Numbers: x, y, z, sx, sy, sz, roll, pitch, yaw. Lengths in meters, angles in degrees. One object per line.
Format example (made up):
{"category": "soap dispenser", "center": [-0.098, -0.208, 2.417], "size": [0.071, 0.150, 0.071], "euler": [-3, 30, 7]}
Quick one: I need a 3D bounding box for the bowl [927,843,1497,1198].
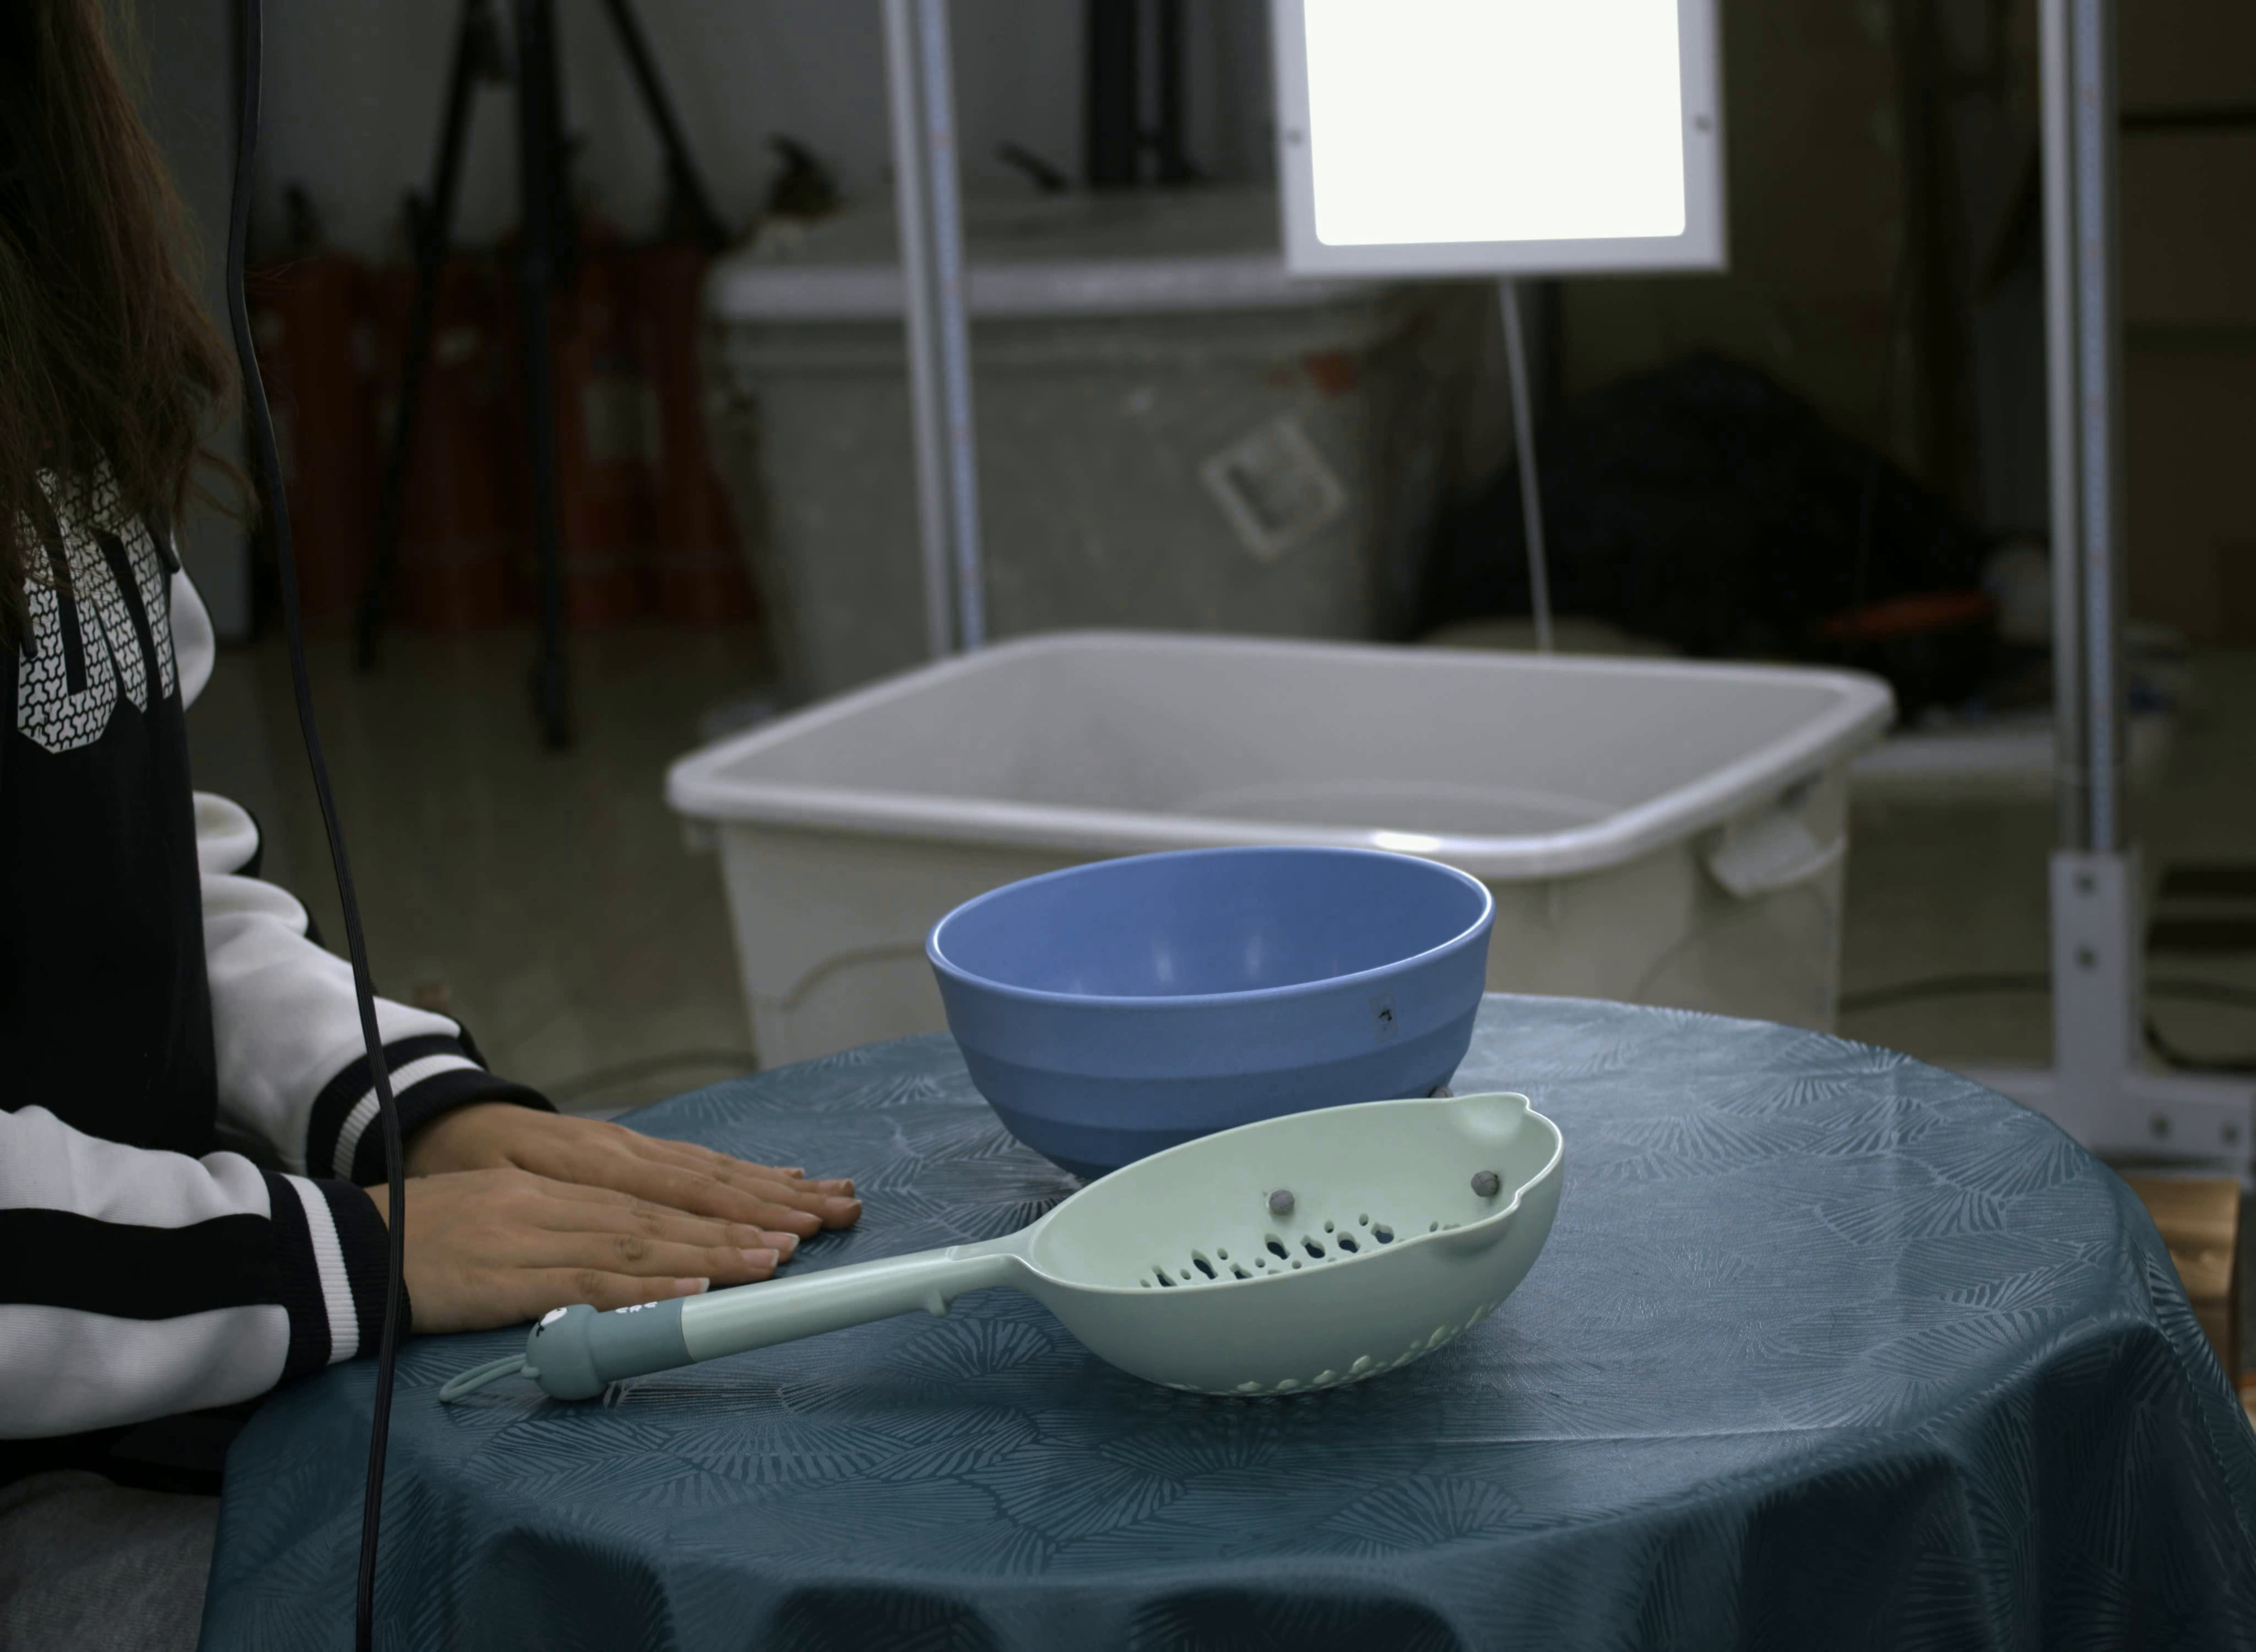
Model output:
{"category": "bowl", "center": [0.032, 0.077, 1.891], "size": [0.196, 0.096, 0.196], "euler": [-6, 14, 0]}

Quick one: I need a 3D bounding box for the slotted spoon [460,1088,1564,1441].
{"category": "slotted spoon", "center": [-0.040, 0.145, 1.717], "size": [0.361, 0.075, 0.168], "euler": [-5, 12, 10]}
